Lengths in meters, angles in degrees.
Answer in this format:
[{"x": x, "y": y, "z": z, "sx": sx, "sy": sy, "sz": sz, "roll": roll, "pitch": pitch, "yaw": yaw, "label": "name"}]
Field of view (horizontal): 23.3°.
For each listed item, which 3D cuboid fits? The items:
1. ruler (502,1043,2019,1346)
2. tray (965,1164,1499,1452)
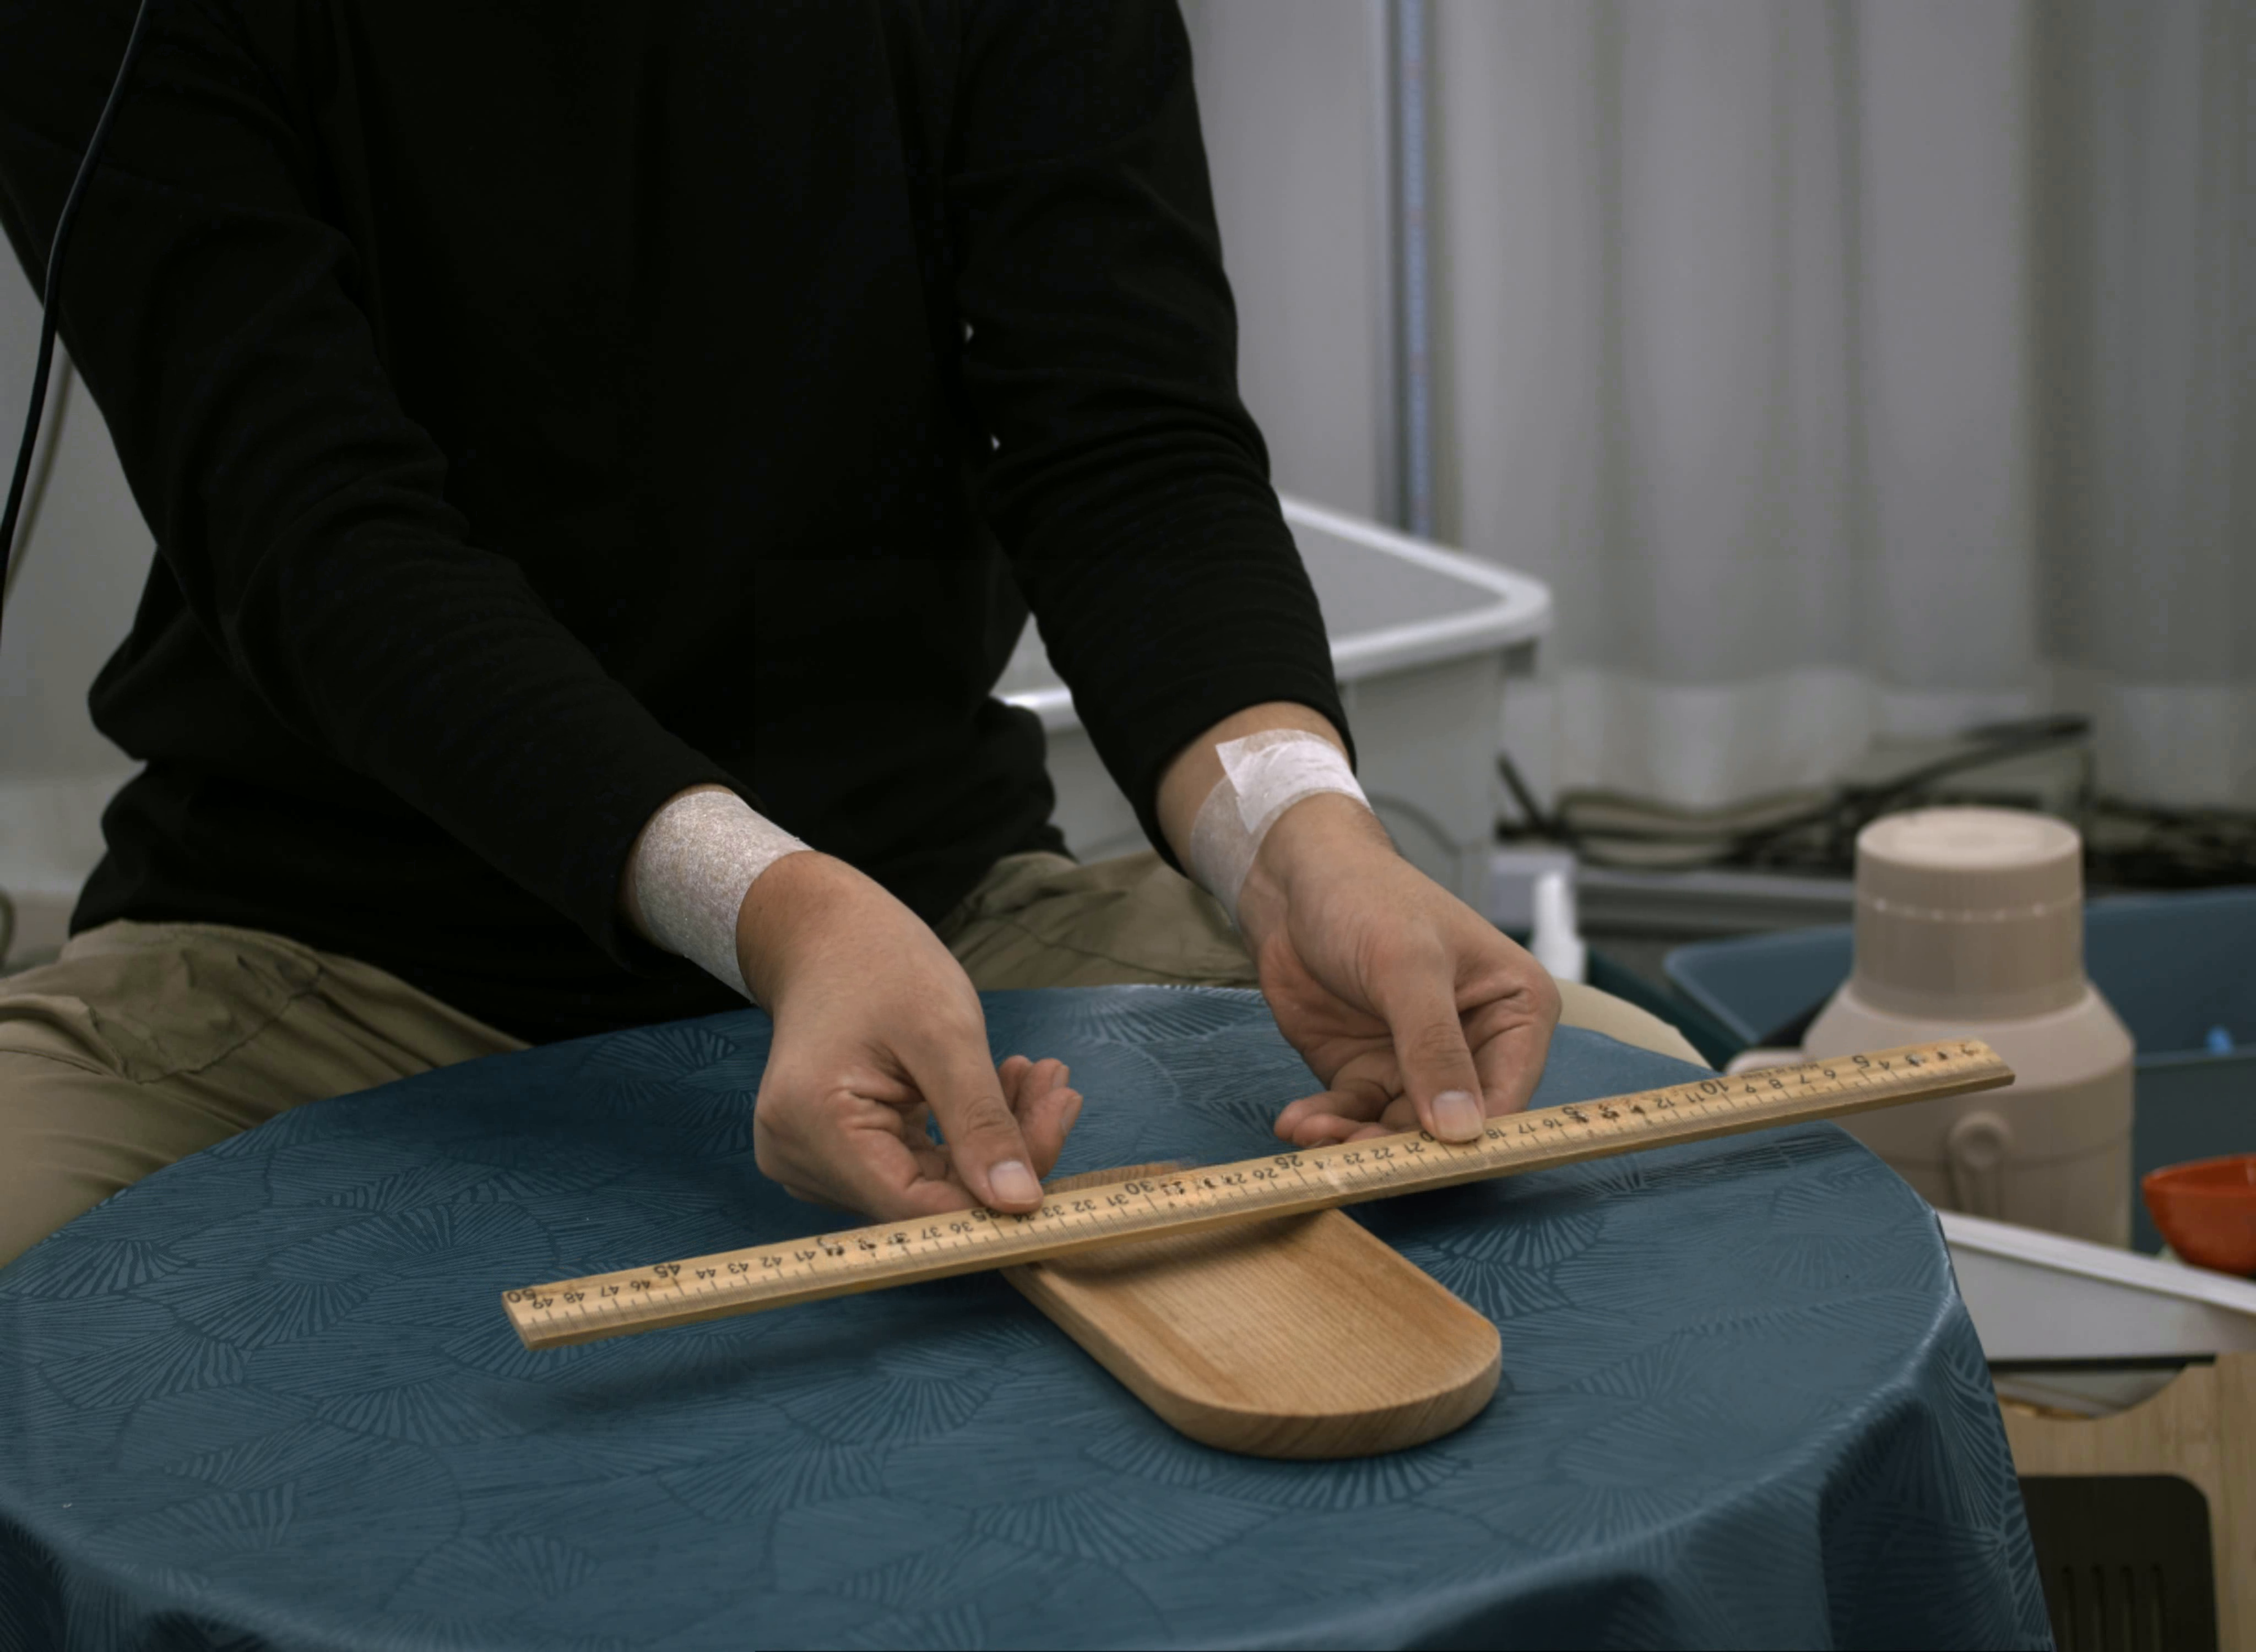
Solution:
[{"x": 0.051, "y": 0.107, "z": 1.645, "sx": 0.498, "sy": 0.006, "sz": 0.027, "roll": -8, "pitch": 31, "yaw": -23, "label": "ruler"}, {"x": 0.028, "y": 0.138, "z": 1.588, "sx": 0.101, "sy": 0.020, "sz": 0.233, "roll": -8, "pitch": 14, "yaw": -22, "label": "tray"}]
